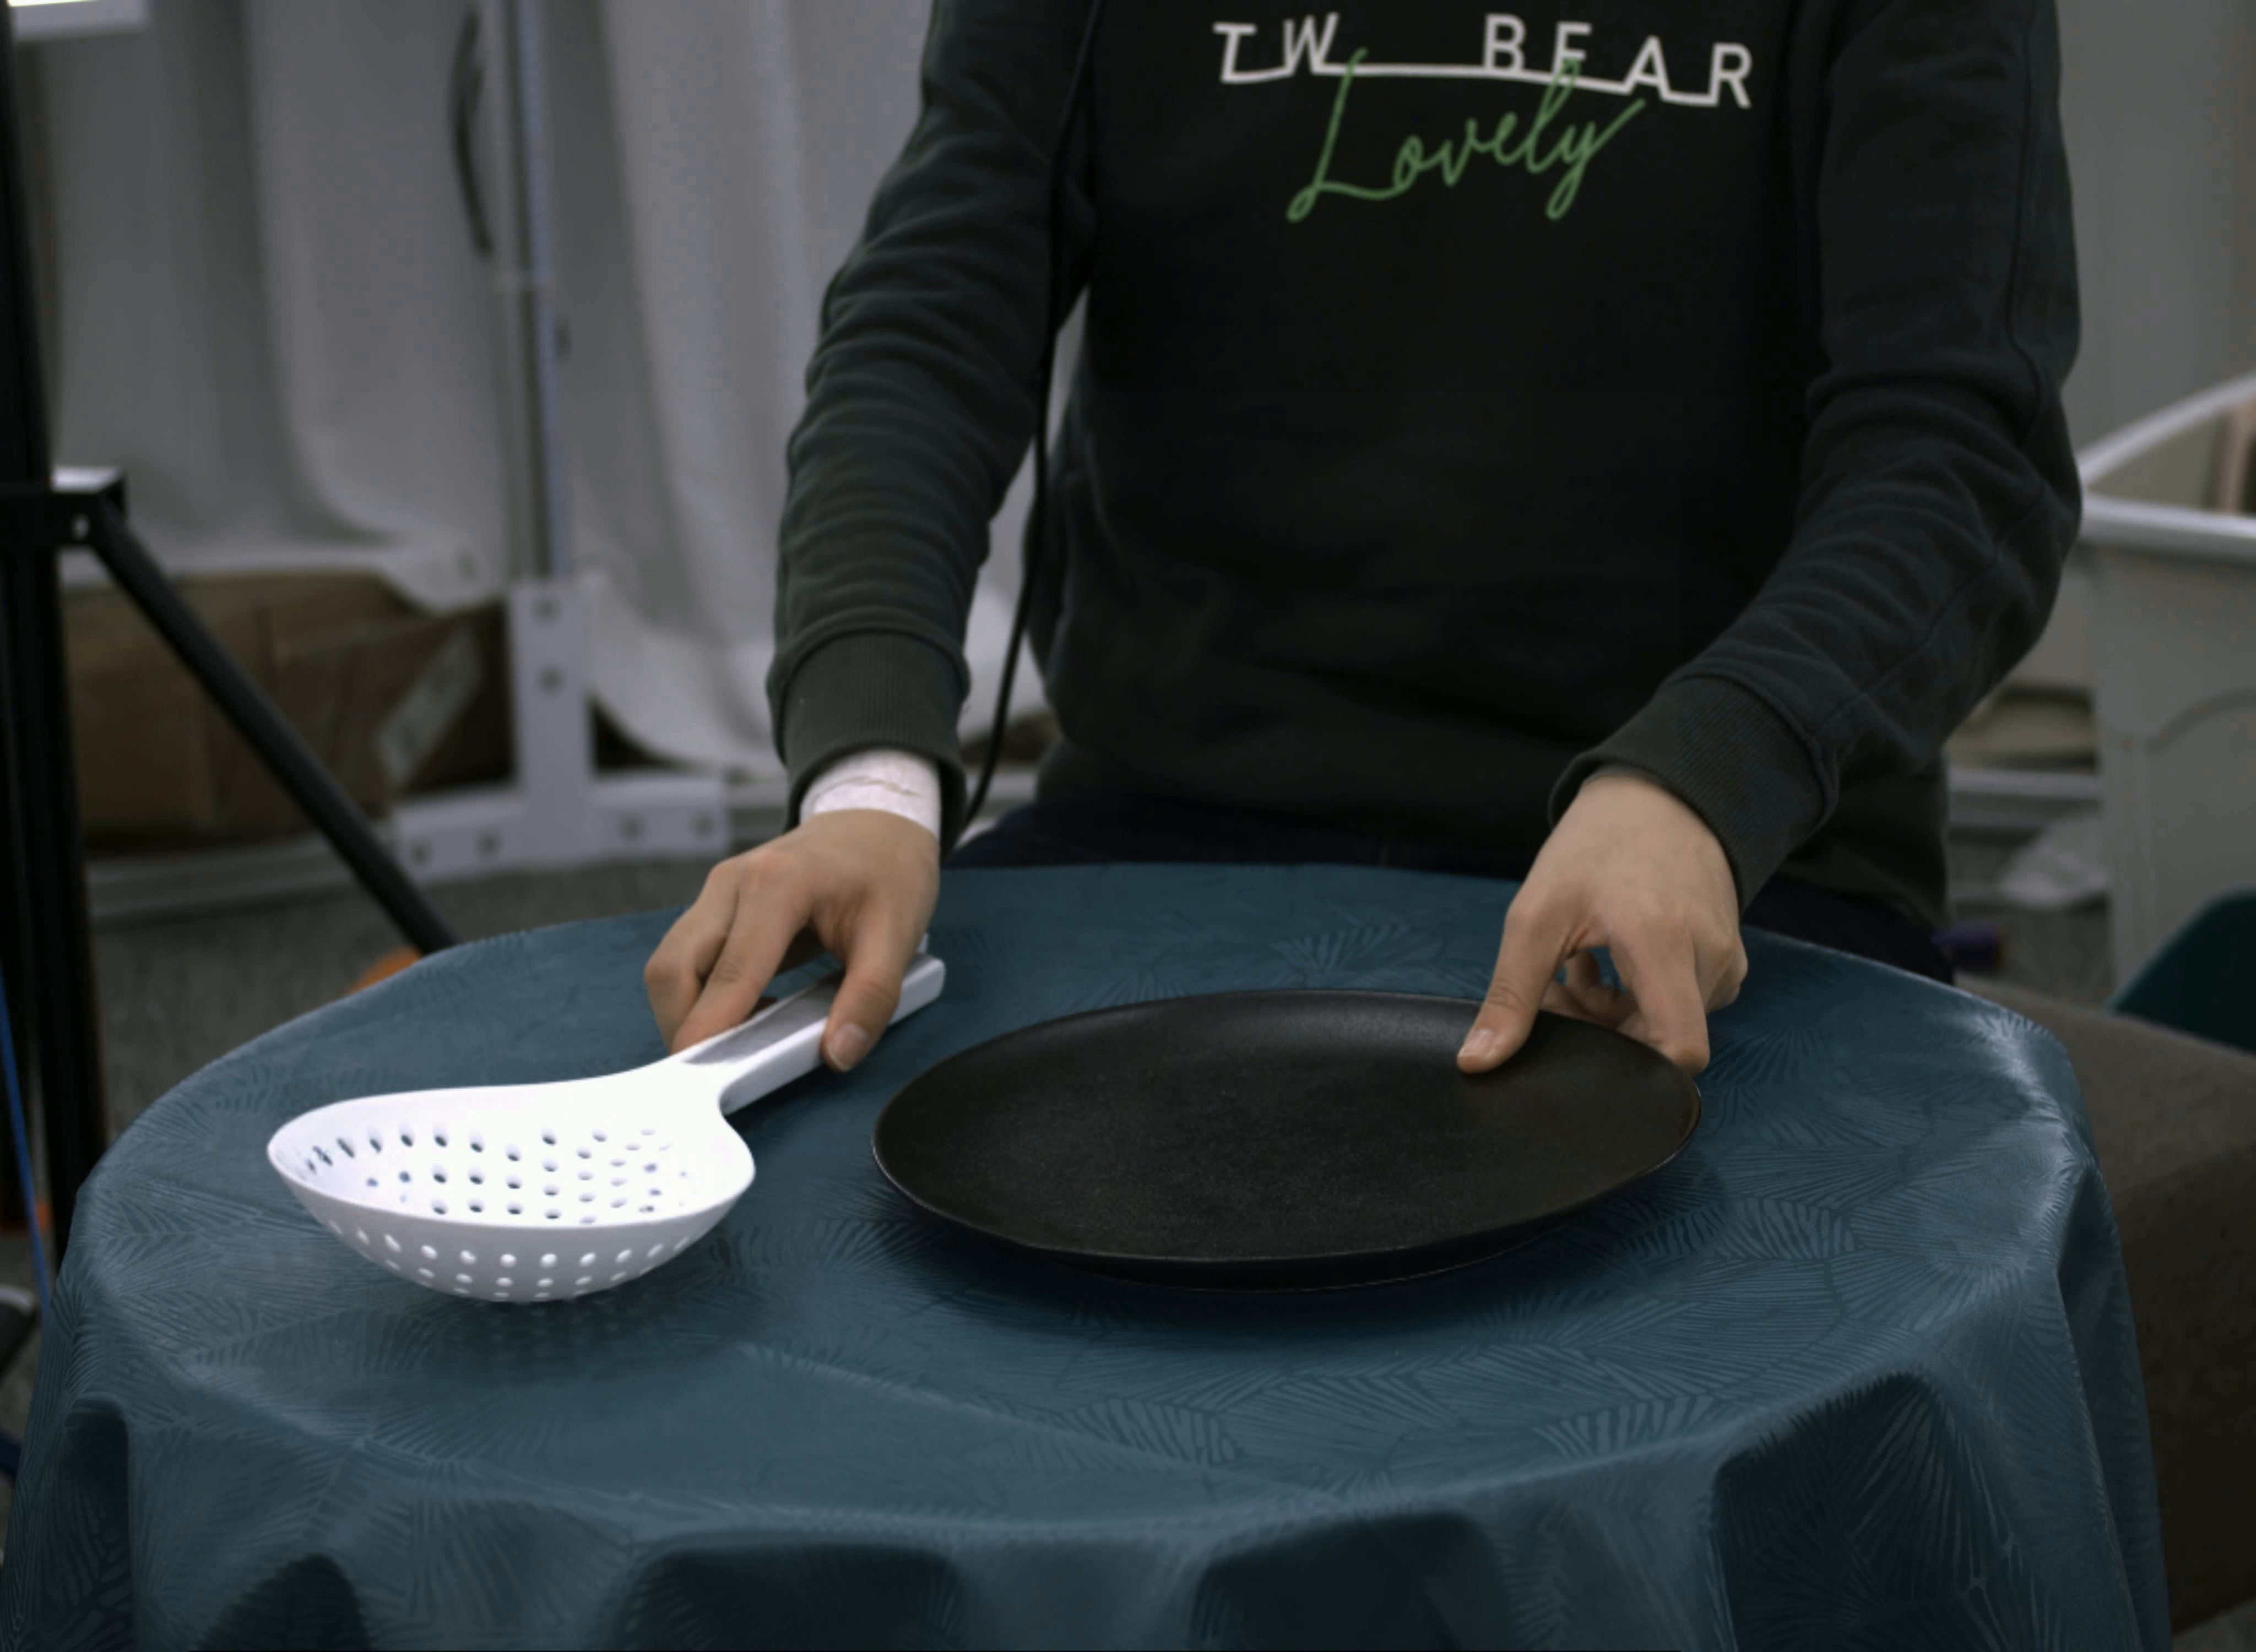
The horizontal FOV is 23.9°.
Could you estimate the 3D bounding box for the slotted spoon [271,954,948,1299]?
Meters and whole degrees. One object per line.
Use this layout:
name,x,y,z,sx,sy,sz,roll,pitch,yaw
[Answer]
slotted spoon,-0.134,0.080,1.595,0.138,0.046,0.345,11,19,20

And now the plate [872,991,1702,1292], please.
plate,0.047,0.095,1.551,0.243,0.023,0.245,-4,16,0
